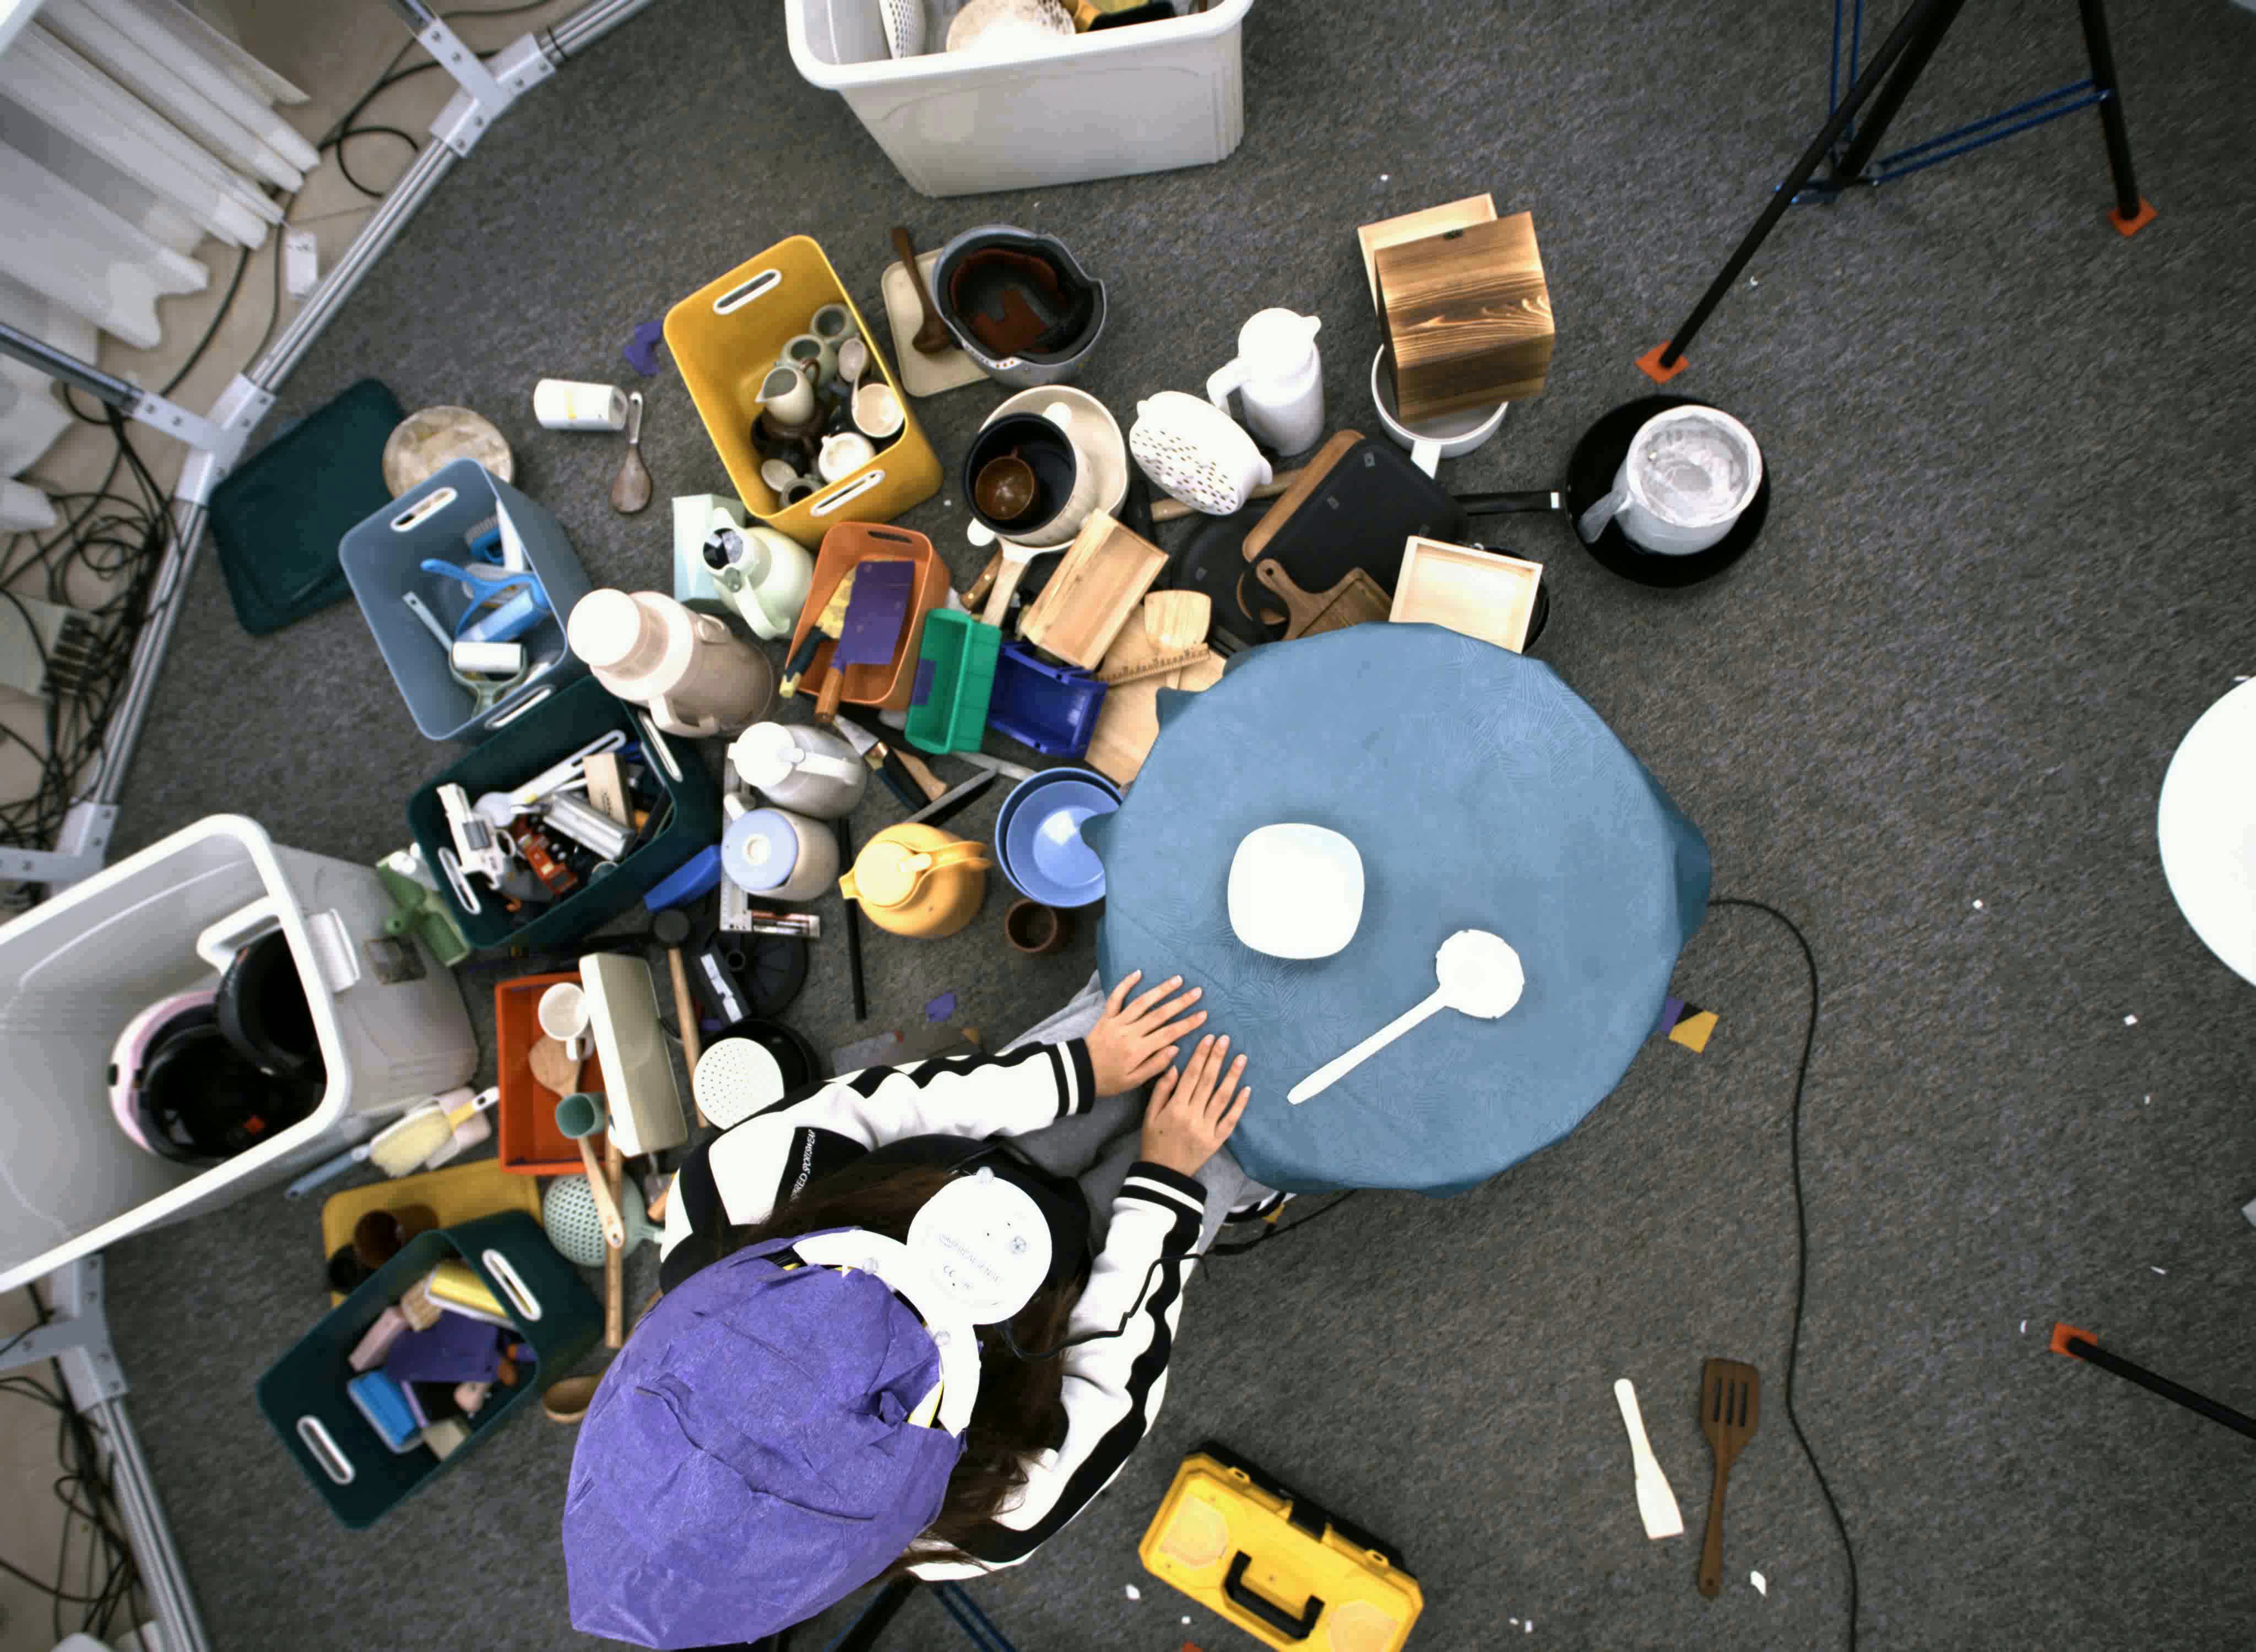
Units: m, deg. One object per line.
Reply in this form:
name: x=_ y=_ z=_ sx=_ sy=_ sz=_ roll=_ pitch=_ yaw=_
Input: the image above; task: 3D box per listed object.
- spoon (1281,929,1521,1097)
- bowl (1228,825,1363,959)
spoon: x=0.272 y=0.199 z=1.424 sx=0.279 sy=0.059 sz=0.100 roll=-32 pitch=76 yaw=7
bowl: x=0.176 y=0.070 z=1.451 sx=0.152 sy=0.058 sz=0.151 roll=-1 pitch=86 yaw=10
